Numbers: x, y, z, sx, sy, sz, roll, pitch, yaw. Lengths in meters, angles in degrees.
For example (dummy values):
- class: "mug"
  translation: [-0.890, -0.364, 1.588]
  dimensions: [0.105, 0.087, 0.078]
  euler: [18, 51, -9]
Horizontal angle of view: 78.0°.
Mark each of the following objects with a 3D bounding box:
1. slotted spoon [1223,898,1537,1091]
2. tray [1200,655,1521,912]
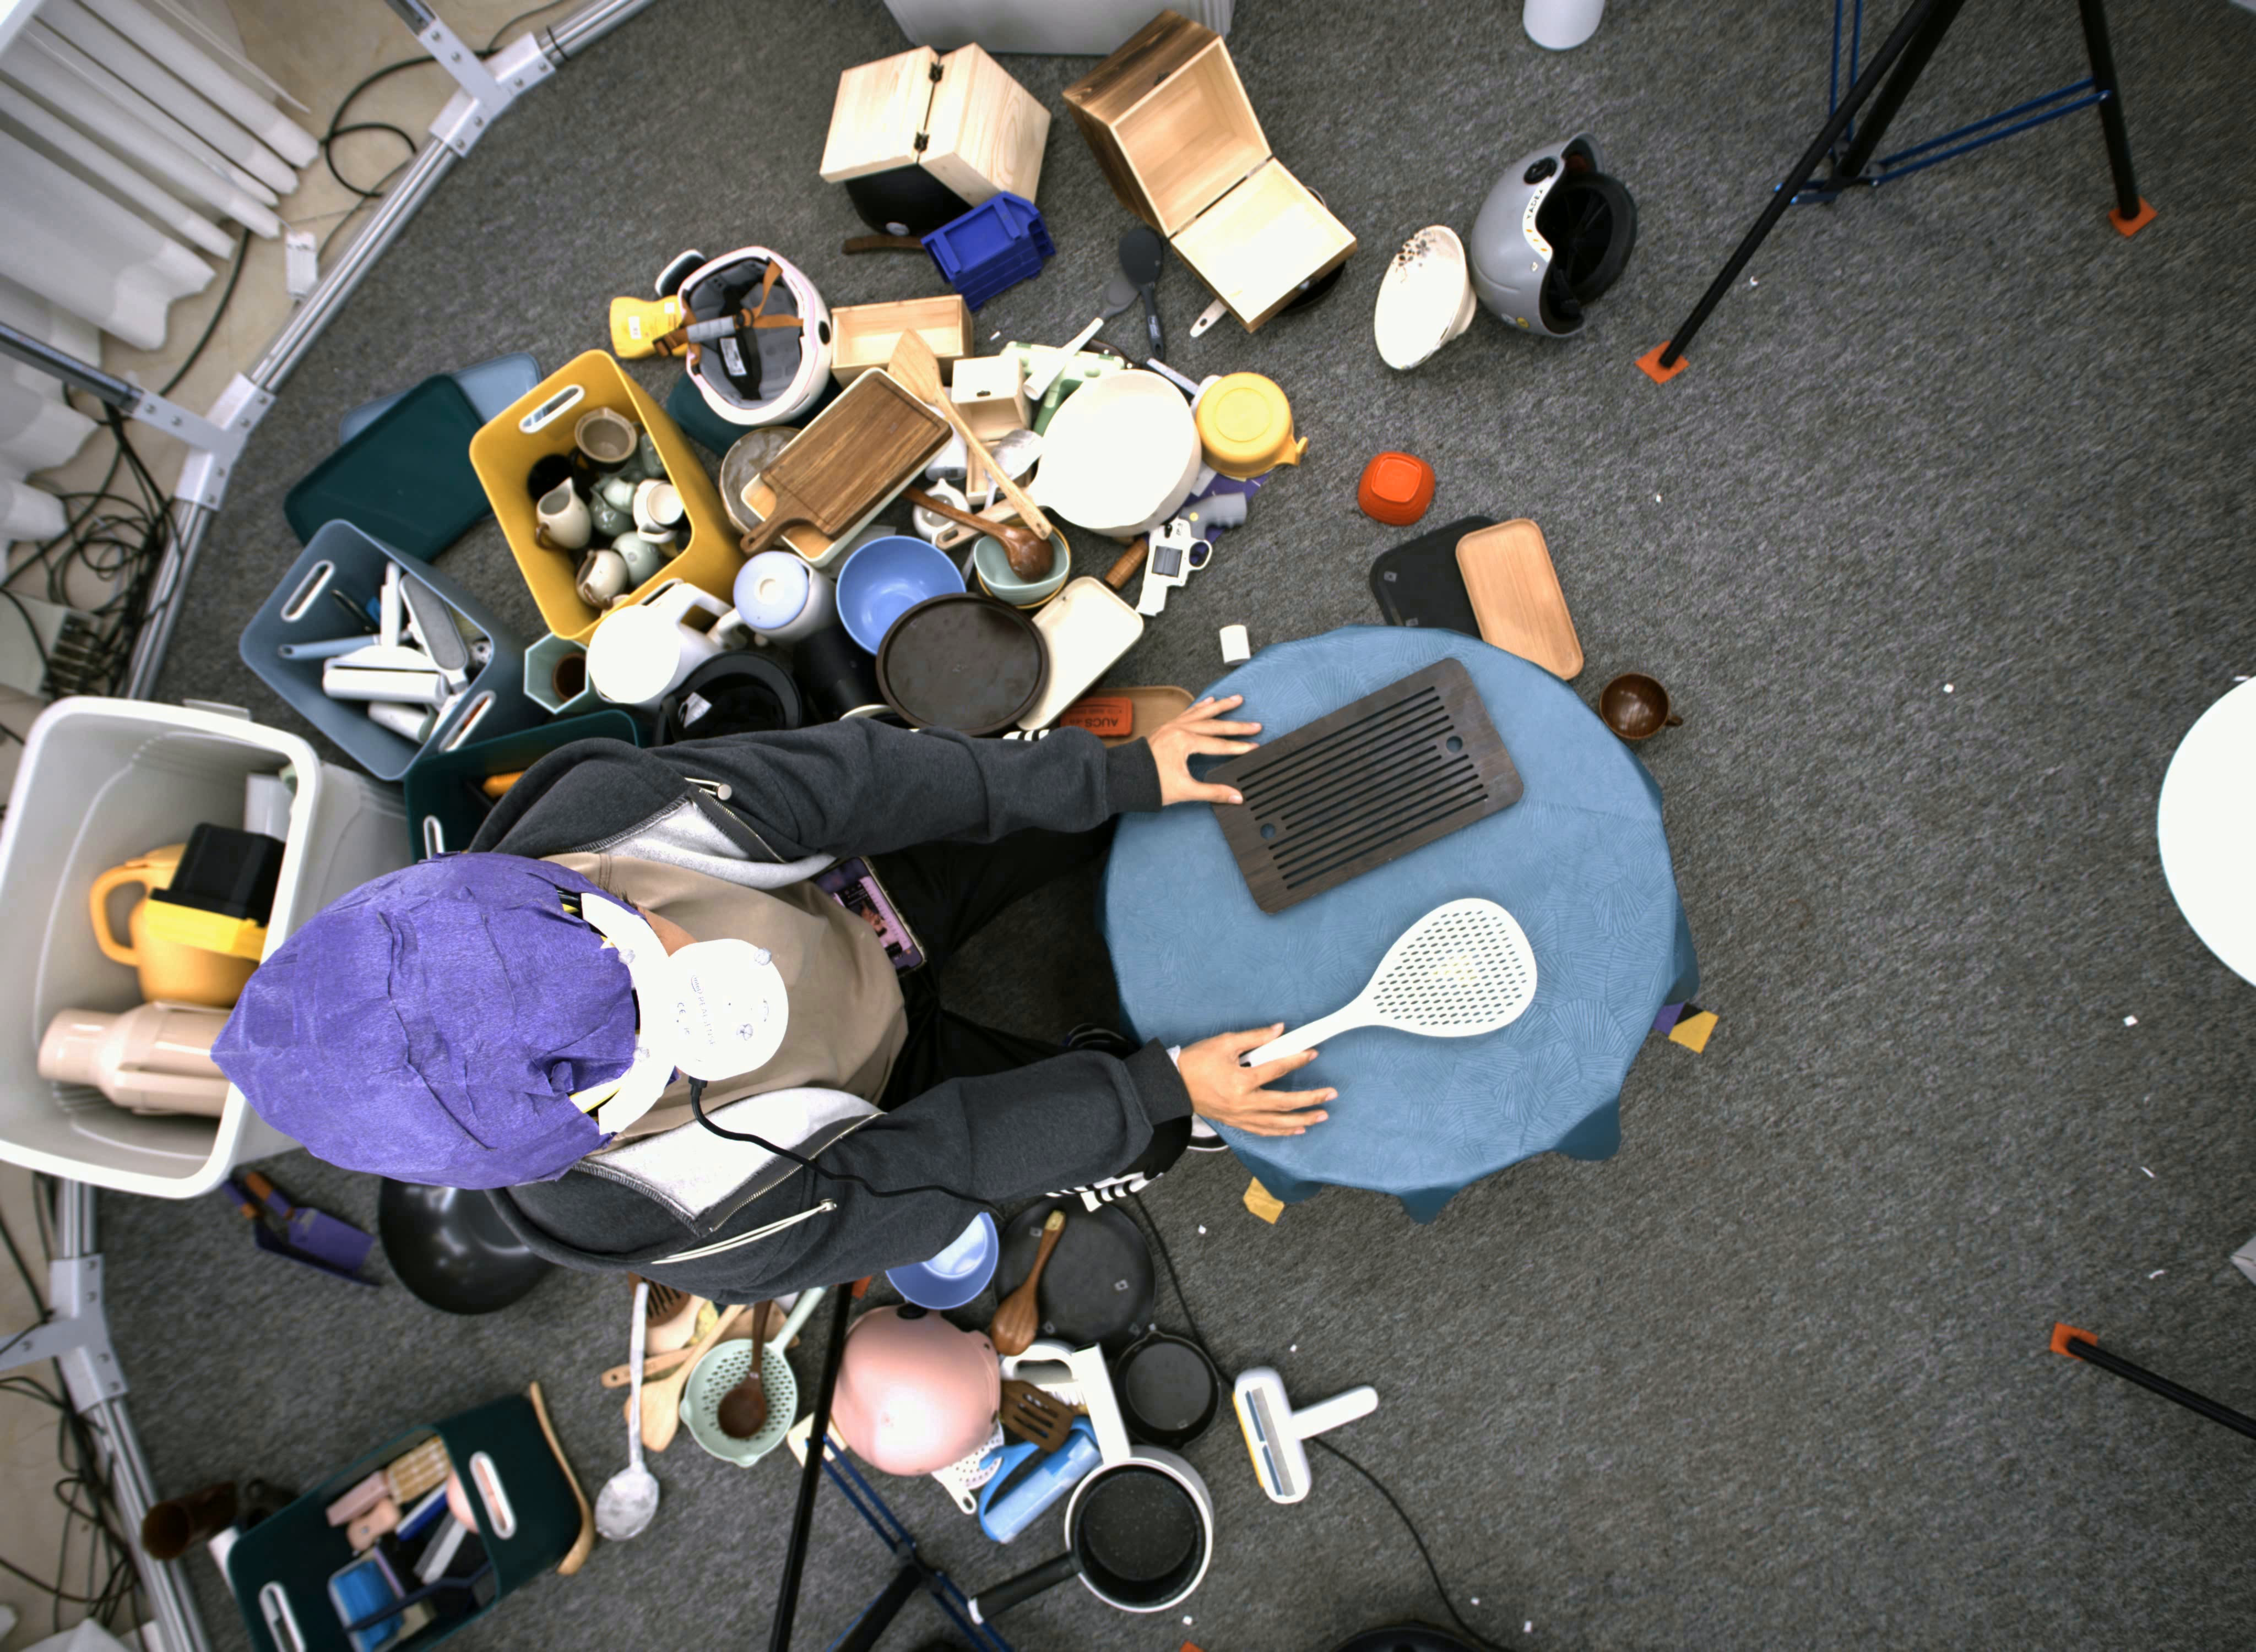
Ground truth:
- class: "slotted spoon"
  translation: [0.251, 0.191, 1.435]
  dimensions: [0.350, 0.050, 0.136]
  euler: [-26, 82, 8]
- class: "tray"
  translation: [0.244, -0.046, 1.461]
  dimensions: [0.308, 0.018, 0.169]
  euler: [-26, 83, 8]
